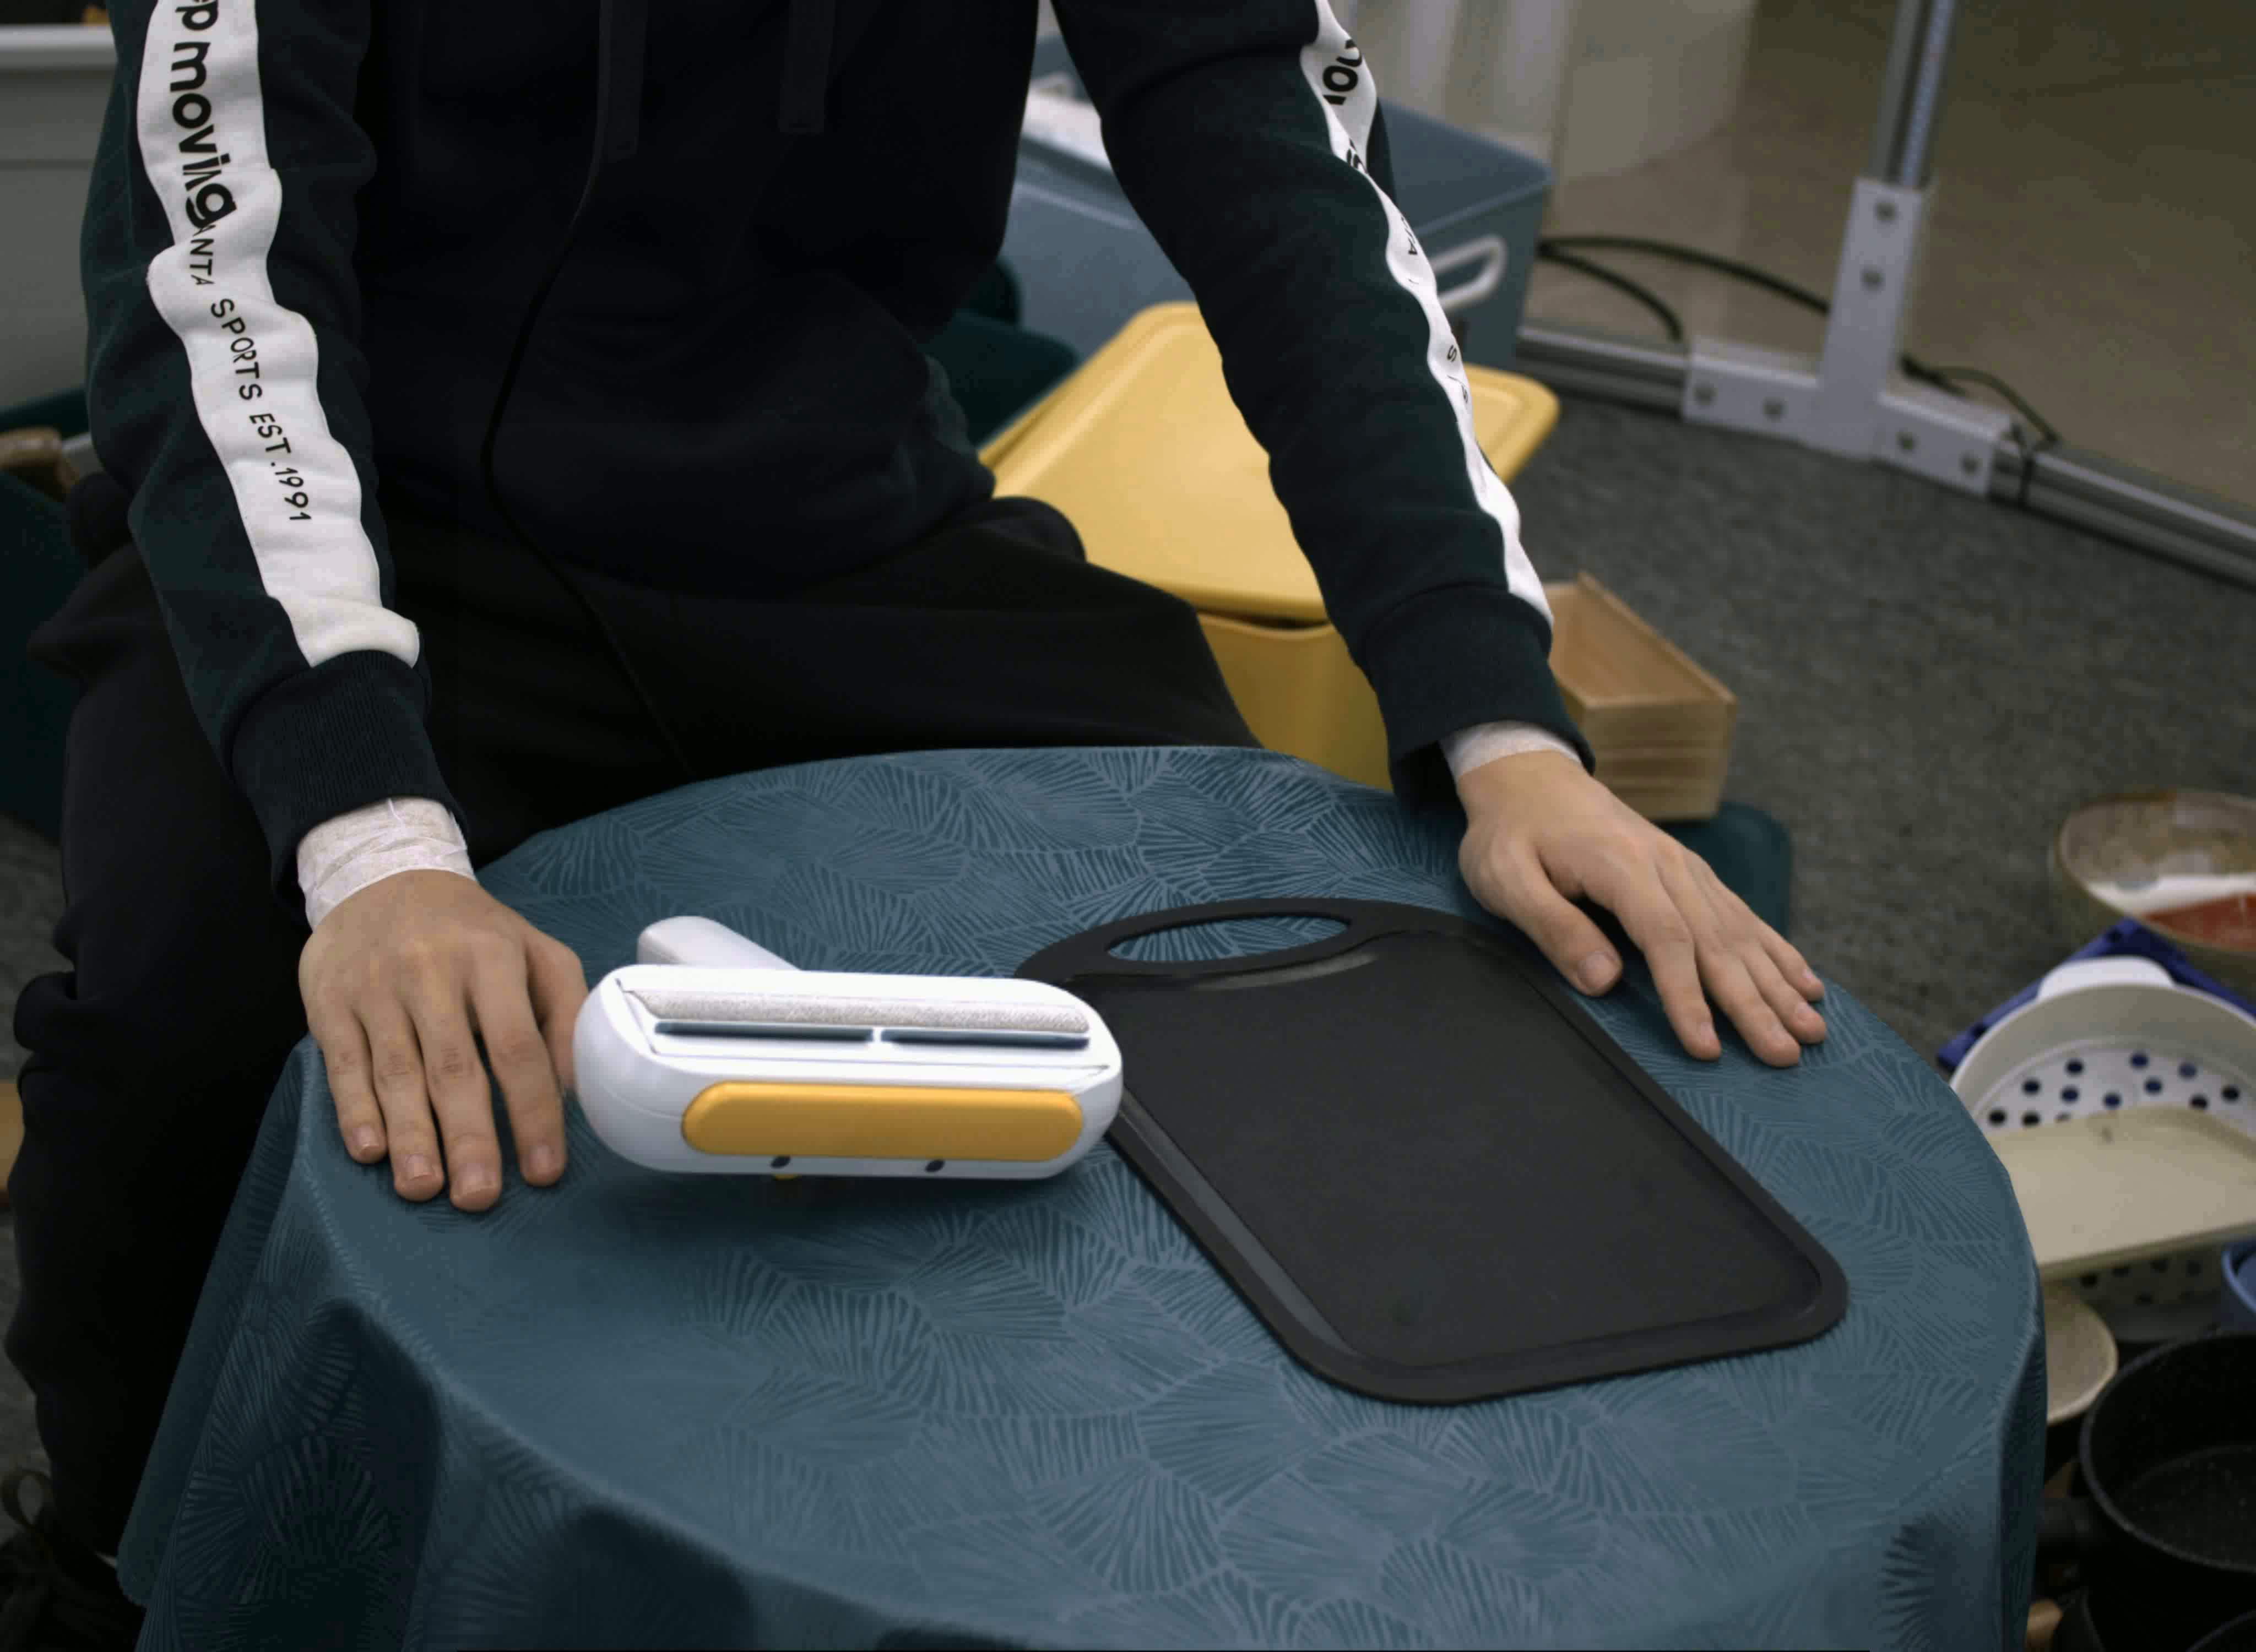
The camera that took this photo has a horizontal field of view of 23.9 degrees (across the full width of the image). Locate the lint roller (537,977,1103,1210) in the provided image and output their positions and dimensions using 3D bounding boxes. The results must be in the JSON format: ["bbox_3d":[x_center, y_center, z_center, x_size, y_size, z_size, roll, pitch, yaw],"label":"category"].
[{"bbox_3d":[-0.123,0.082,1.821,0.191,0.074,0.193,3,11,-22],"label":"lint roller"}]

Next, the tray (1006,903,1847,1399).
[{"bbox_3d":[0.094,0.103,1.852,0.210,0.010,0.328,-6,29,-24],"label":"tray"}]
